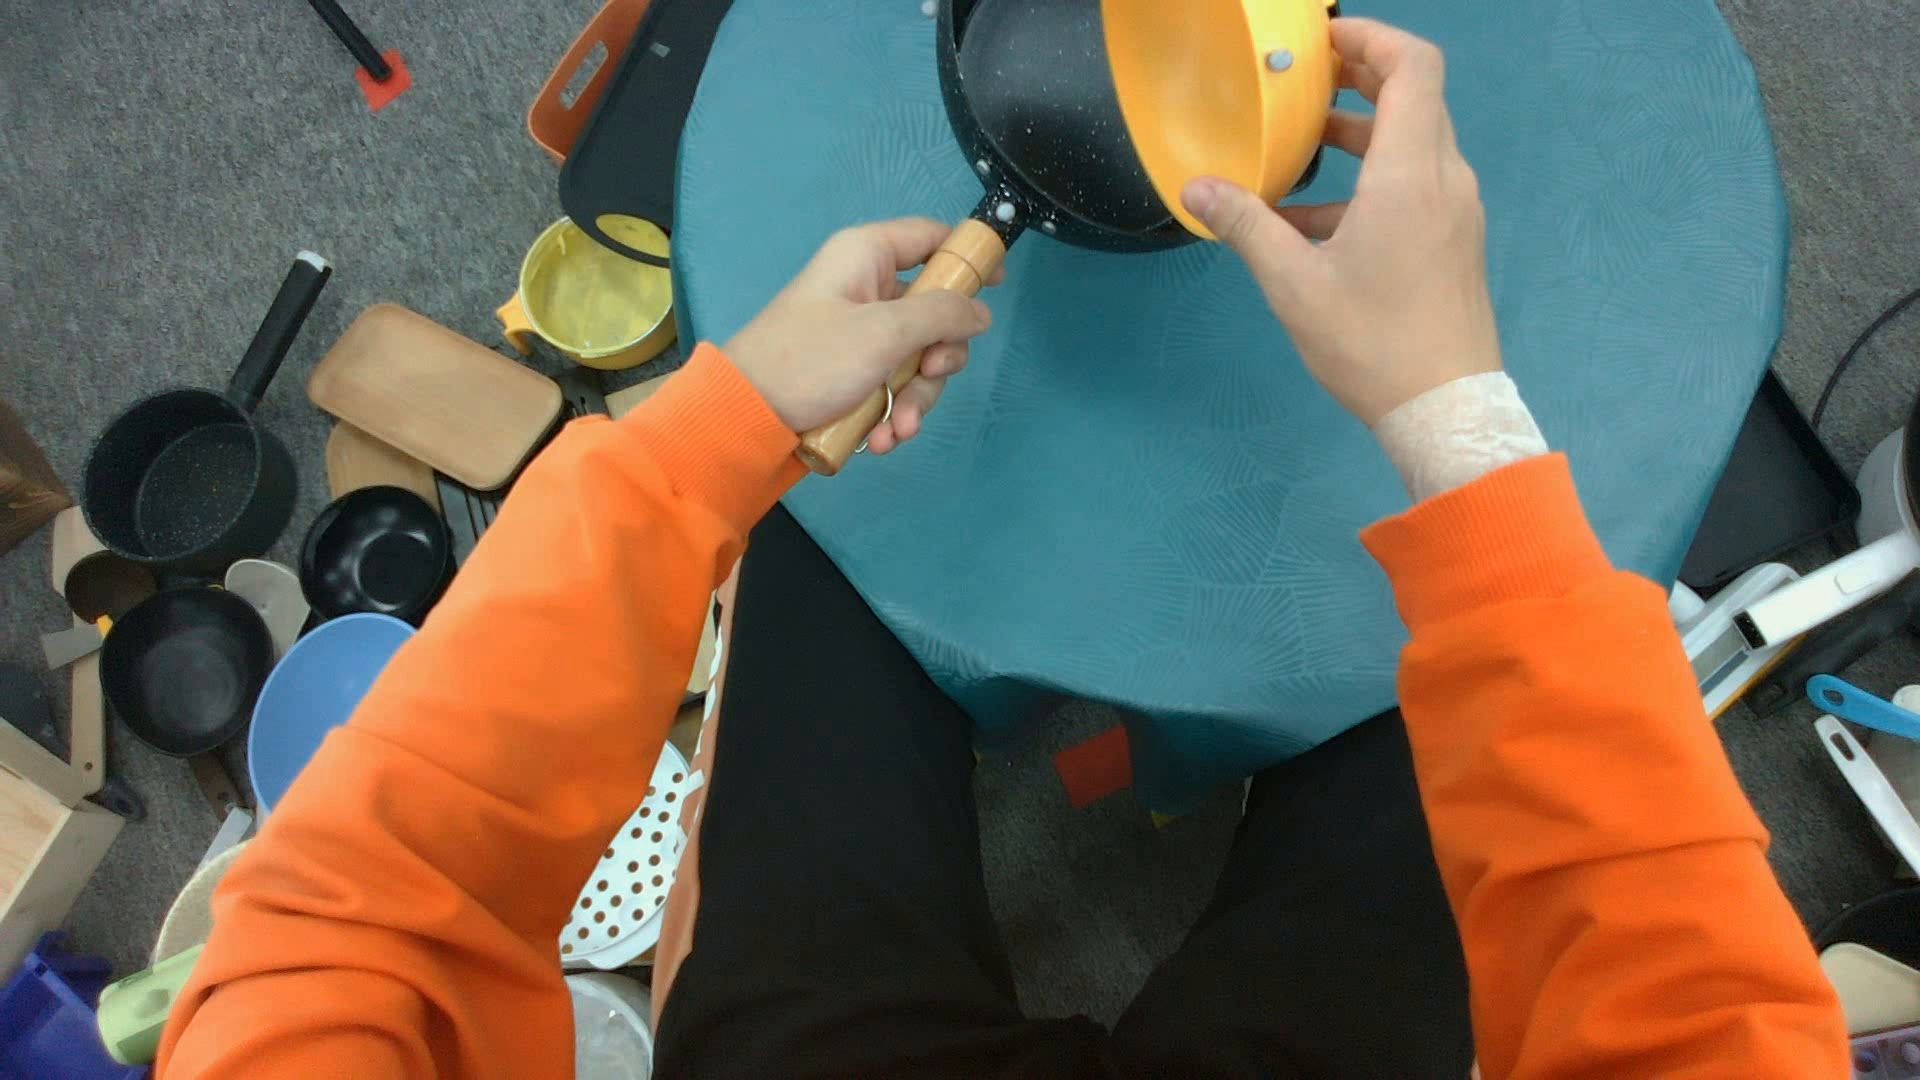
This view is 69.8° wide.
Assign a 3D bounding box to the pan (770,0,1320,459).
[{"bbox_3d":[0.024,-0.168,0.630,0.207,0.108,0.343,38,79,-10],"label":"pan"}]

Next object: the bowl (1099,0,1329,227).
[{"bbox_3d":[0.112,-0.210,0.577,0.060,0.145,0.145,-21,74,-7],"label":"bowl"}]
